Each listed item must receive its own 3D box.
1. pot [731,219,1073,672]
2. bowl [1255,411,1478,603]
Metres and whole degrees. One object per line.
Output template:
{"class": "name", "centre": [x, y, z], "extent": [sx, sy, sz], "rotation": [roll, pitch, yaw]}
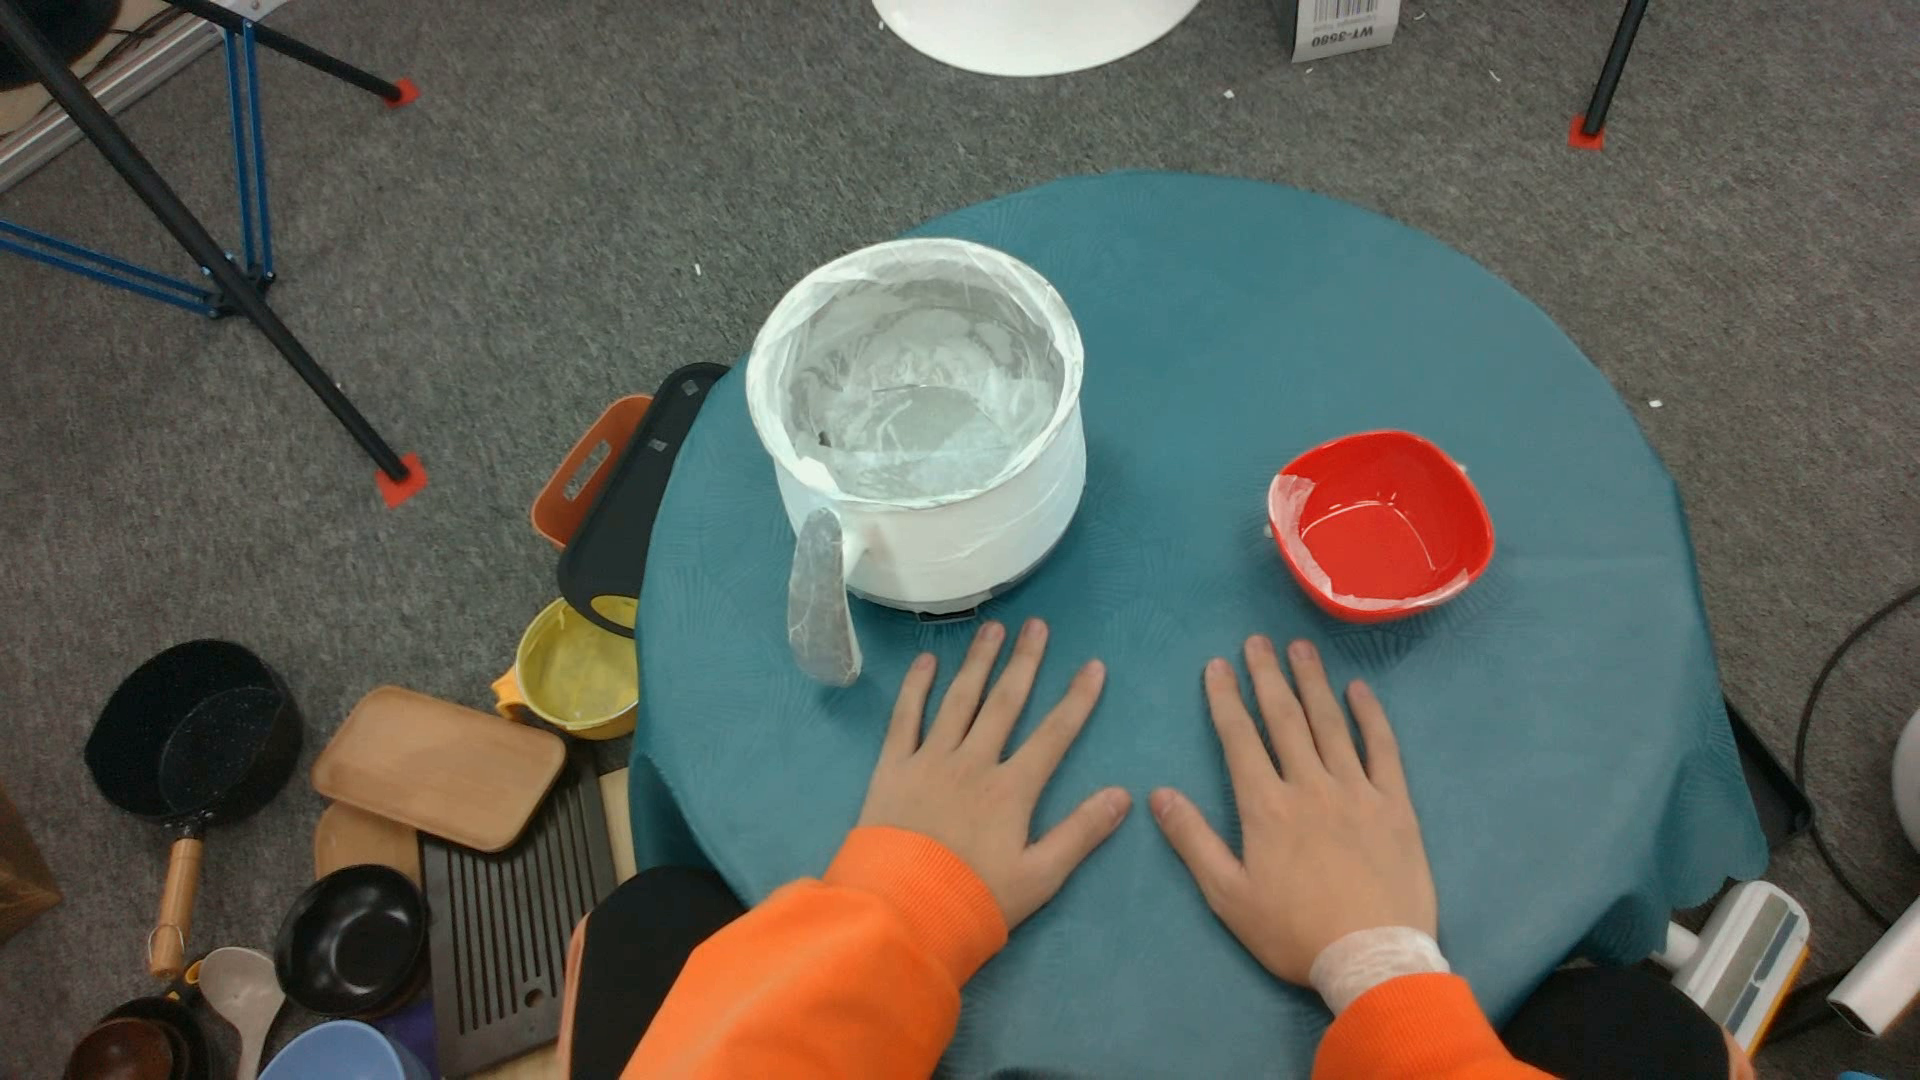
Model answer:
{"class": "pot", "centre": [-0.037, -0.046, 0.757], "extent": [0.178, 0.136, 0.234], "rotation": [17, 63, 16]}
{"class": "bowl", "centre": [0.220, -0.010, 0.761], "extent": [0.119, 0.051, 0.119], "rotation": [-2, 59, 4]}
